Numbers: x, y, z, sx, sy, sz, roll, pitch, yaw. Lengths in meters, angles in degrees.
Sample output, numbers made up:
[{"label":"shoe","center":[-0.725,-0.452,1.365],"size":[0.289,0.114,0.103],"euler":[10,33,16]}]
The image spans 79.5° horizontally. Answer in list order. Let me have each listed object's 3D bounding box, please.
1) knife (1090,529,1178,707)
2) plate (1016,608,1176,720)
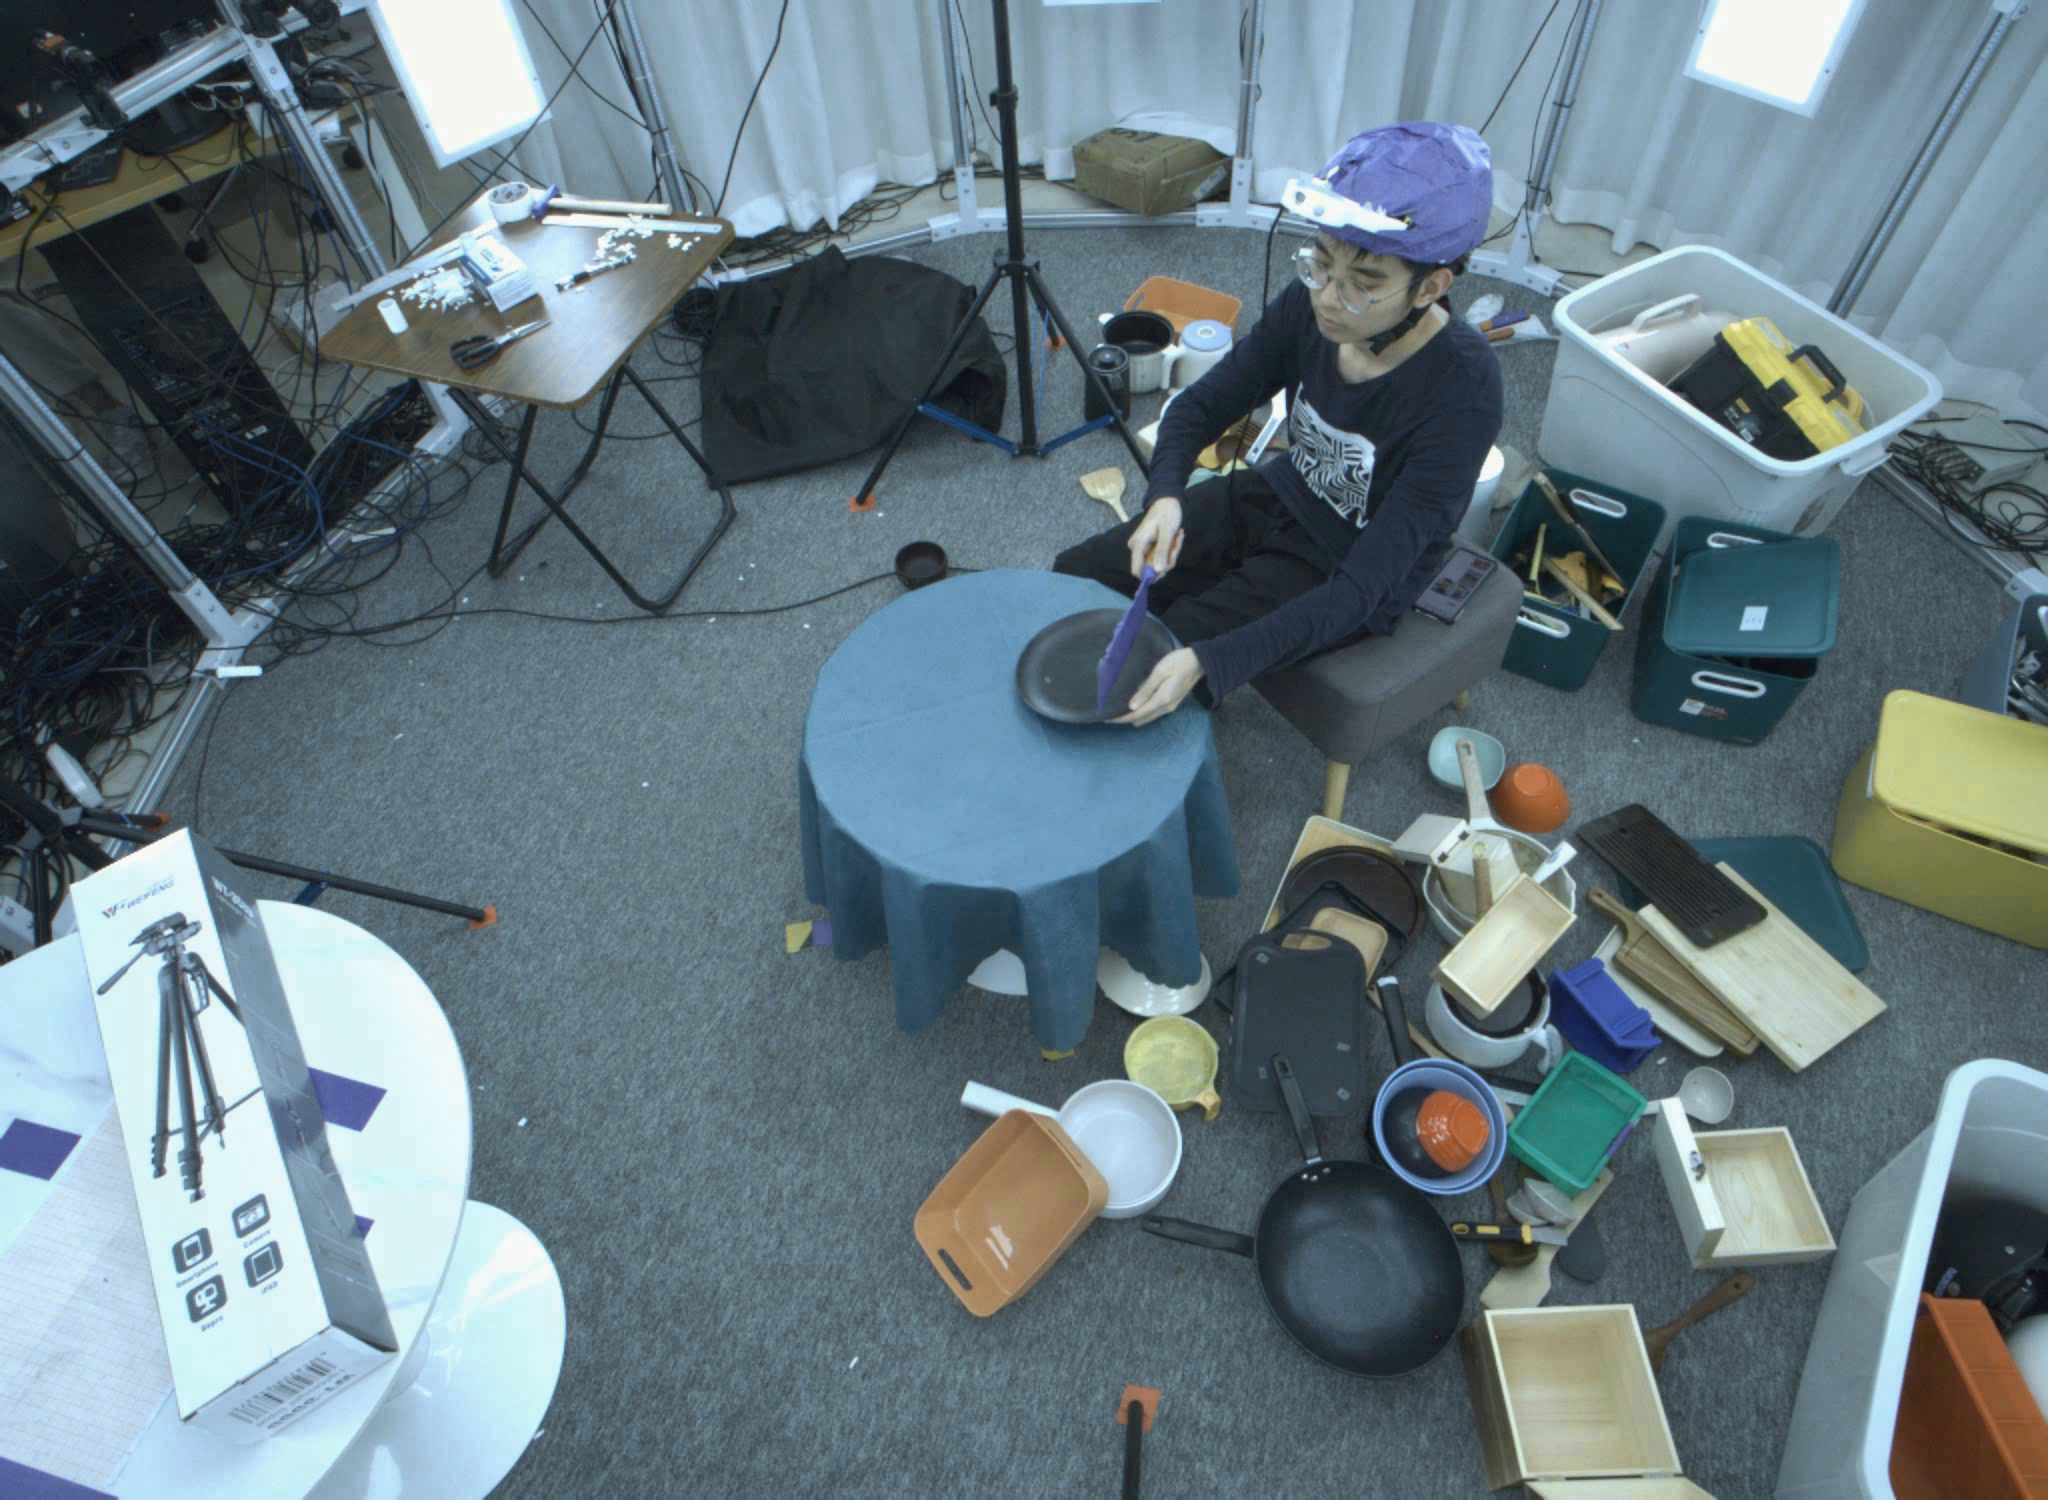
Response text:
[{"label":"knife","center":[0.157,-0.195,1.791],"size":[0.032,0.105,0.315],"euler":[19,54,16]},{"label":"plate","center":[0.108,-0.126,1.845],"size":[0.243,0.024,0.242],"euler":[-7,46,9]}]
